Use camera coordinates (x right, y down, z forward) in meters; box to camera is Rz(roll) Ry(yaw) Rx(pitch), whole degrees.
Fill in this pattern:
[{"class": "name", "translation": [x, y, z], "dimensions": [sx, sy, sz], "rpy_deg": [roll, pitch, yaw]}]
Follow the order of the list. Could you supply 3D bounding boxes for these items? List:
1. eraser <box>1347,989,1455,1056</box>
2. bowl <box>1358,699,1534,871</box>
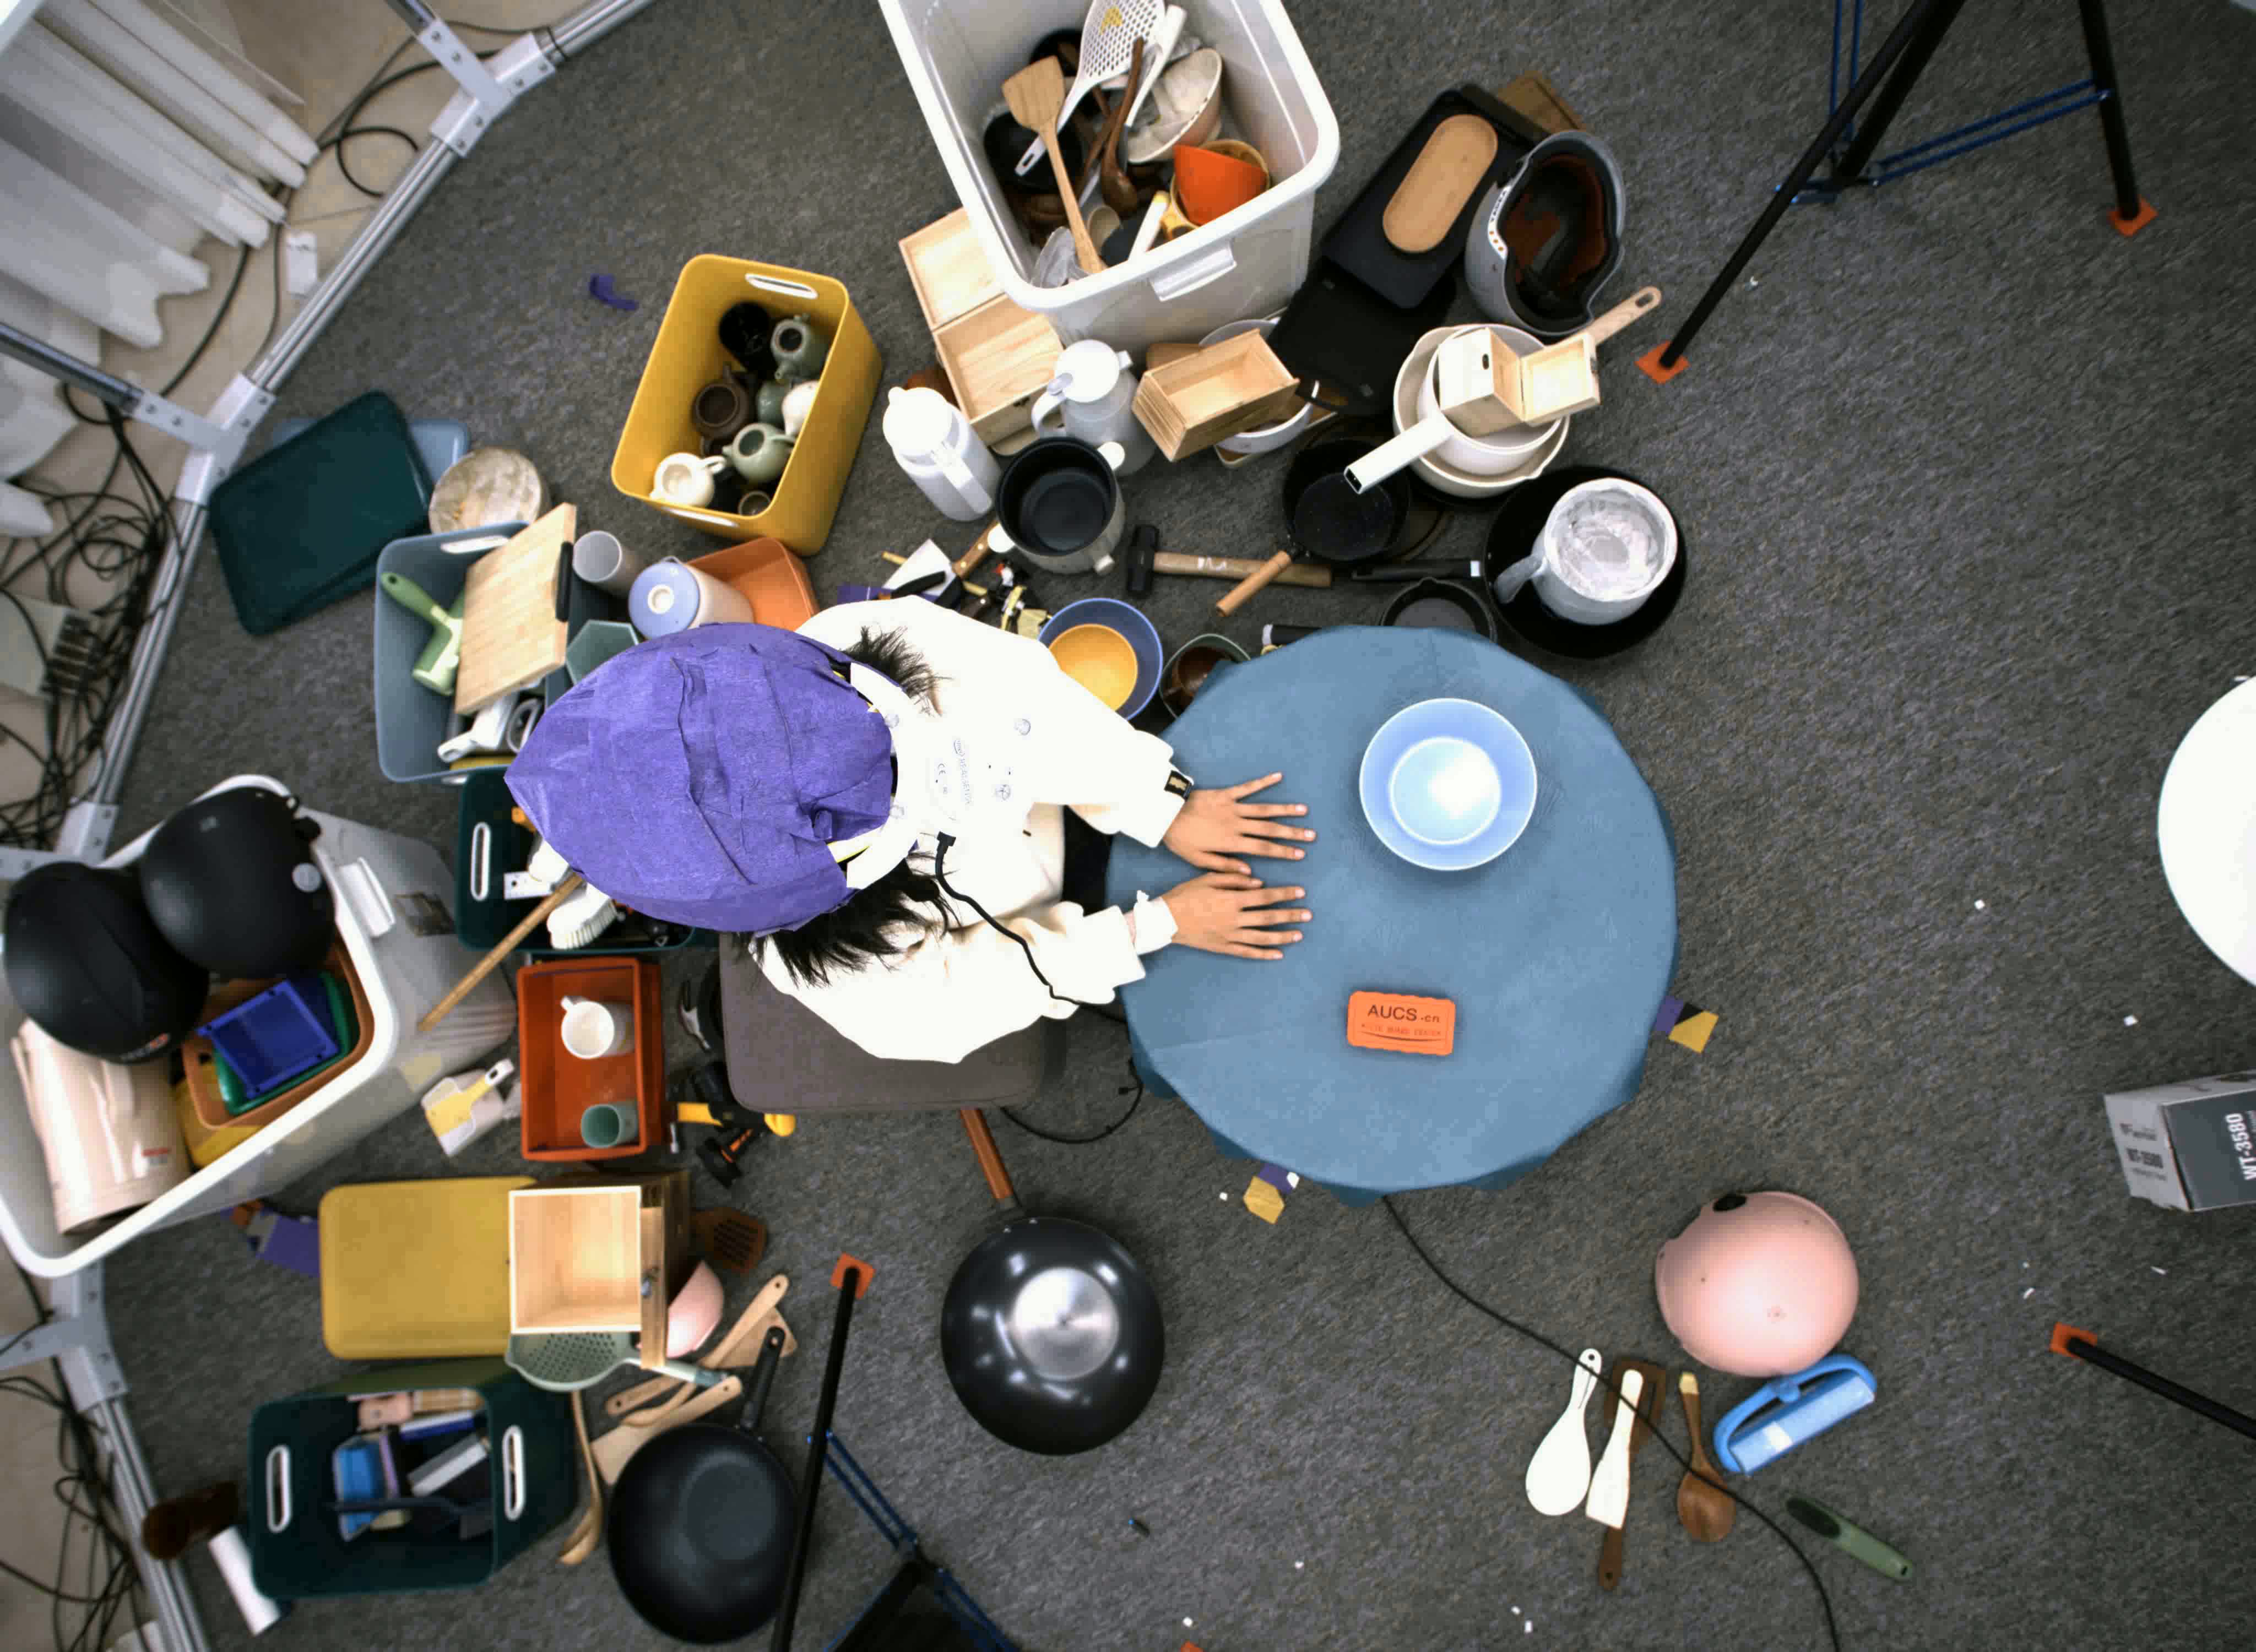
[{"class": "eraser", "translation": [0.284, 0.202, 1.439], "dimensions": [0.108, 0.023, 0.059], "rpy_deg": [6, 90, 11]}, {"class": "bowl", "translation": [0.326, -0.040, 1.420], "dimensions": [0.177, 0.070, 0.175], "rpy_deg": [-1, 86, 10]}]
